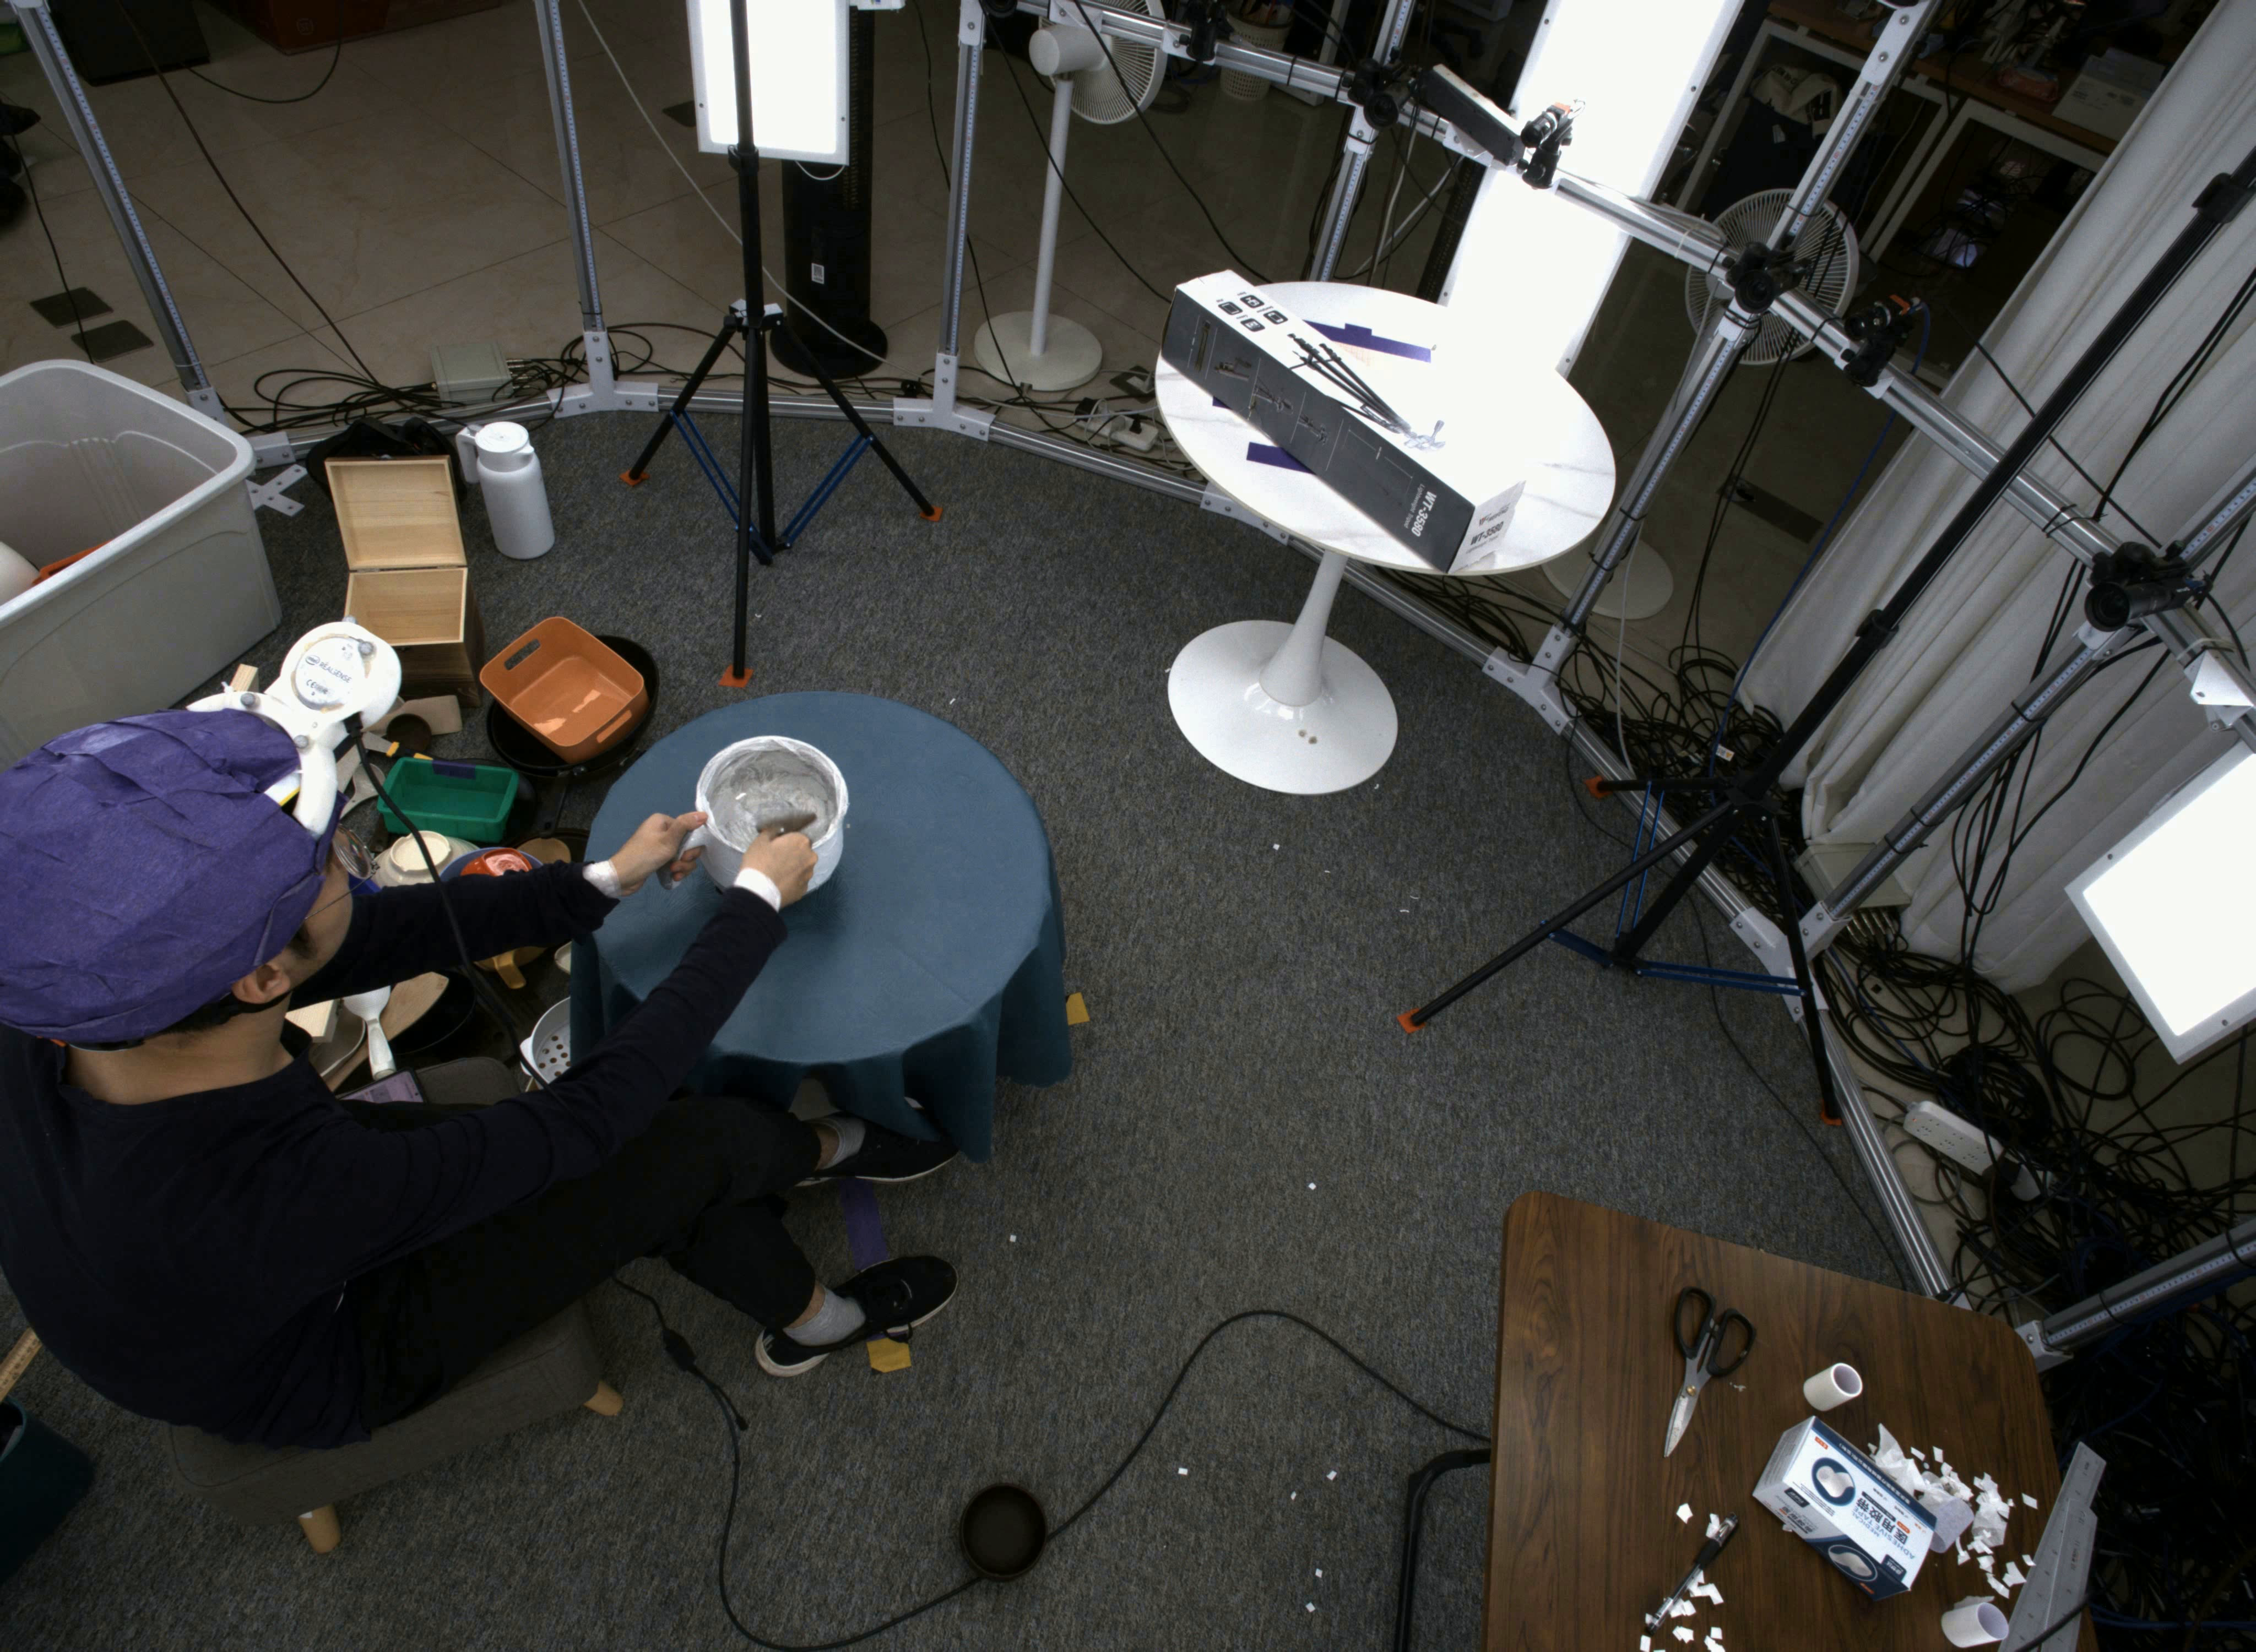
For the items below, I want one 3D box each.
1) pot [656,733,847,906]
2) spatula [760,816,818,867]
[{"bbox_3d":[-0.462,0.005,1.578,0.235,0.139,0.175,-22,64,-31],"label":"pot"},{"bbox_3d":[-0.402,0.017,1.502,0.071,0.009,0.211,-13,15,-4],"label":"spatula"}]
